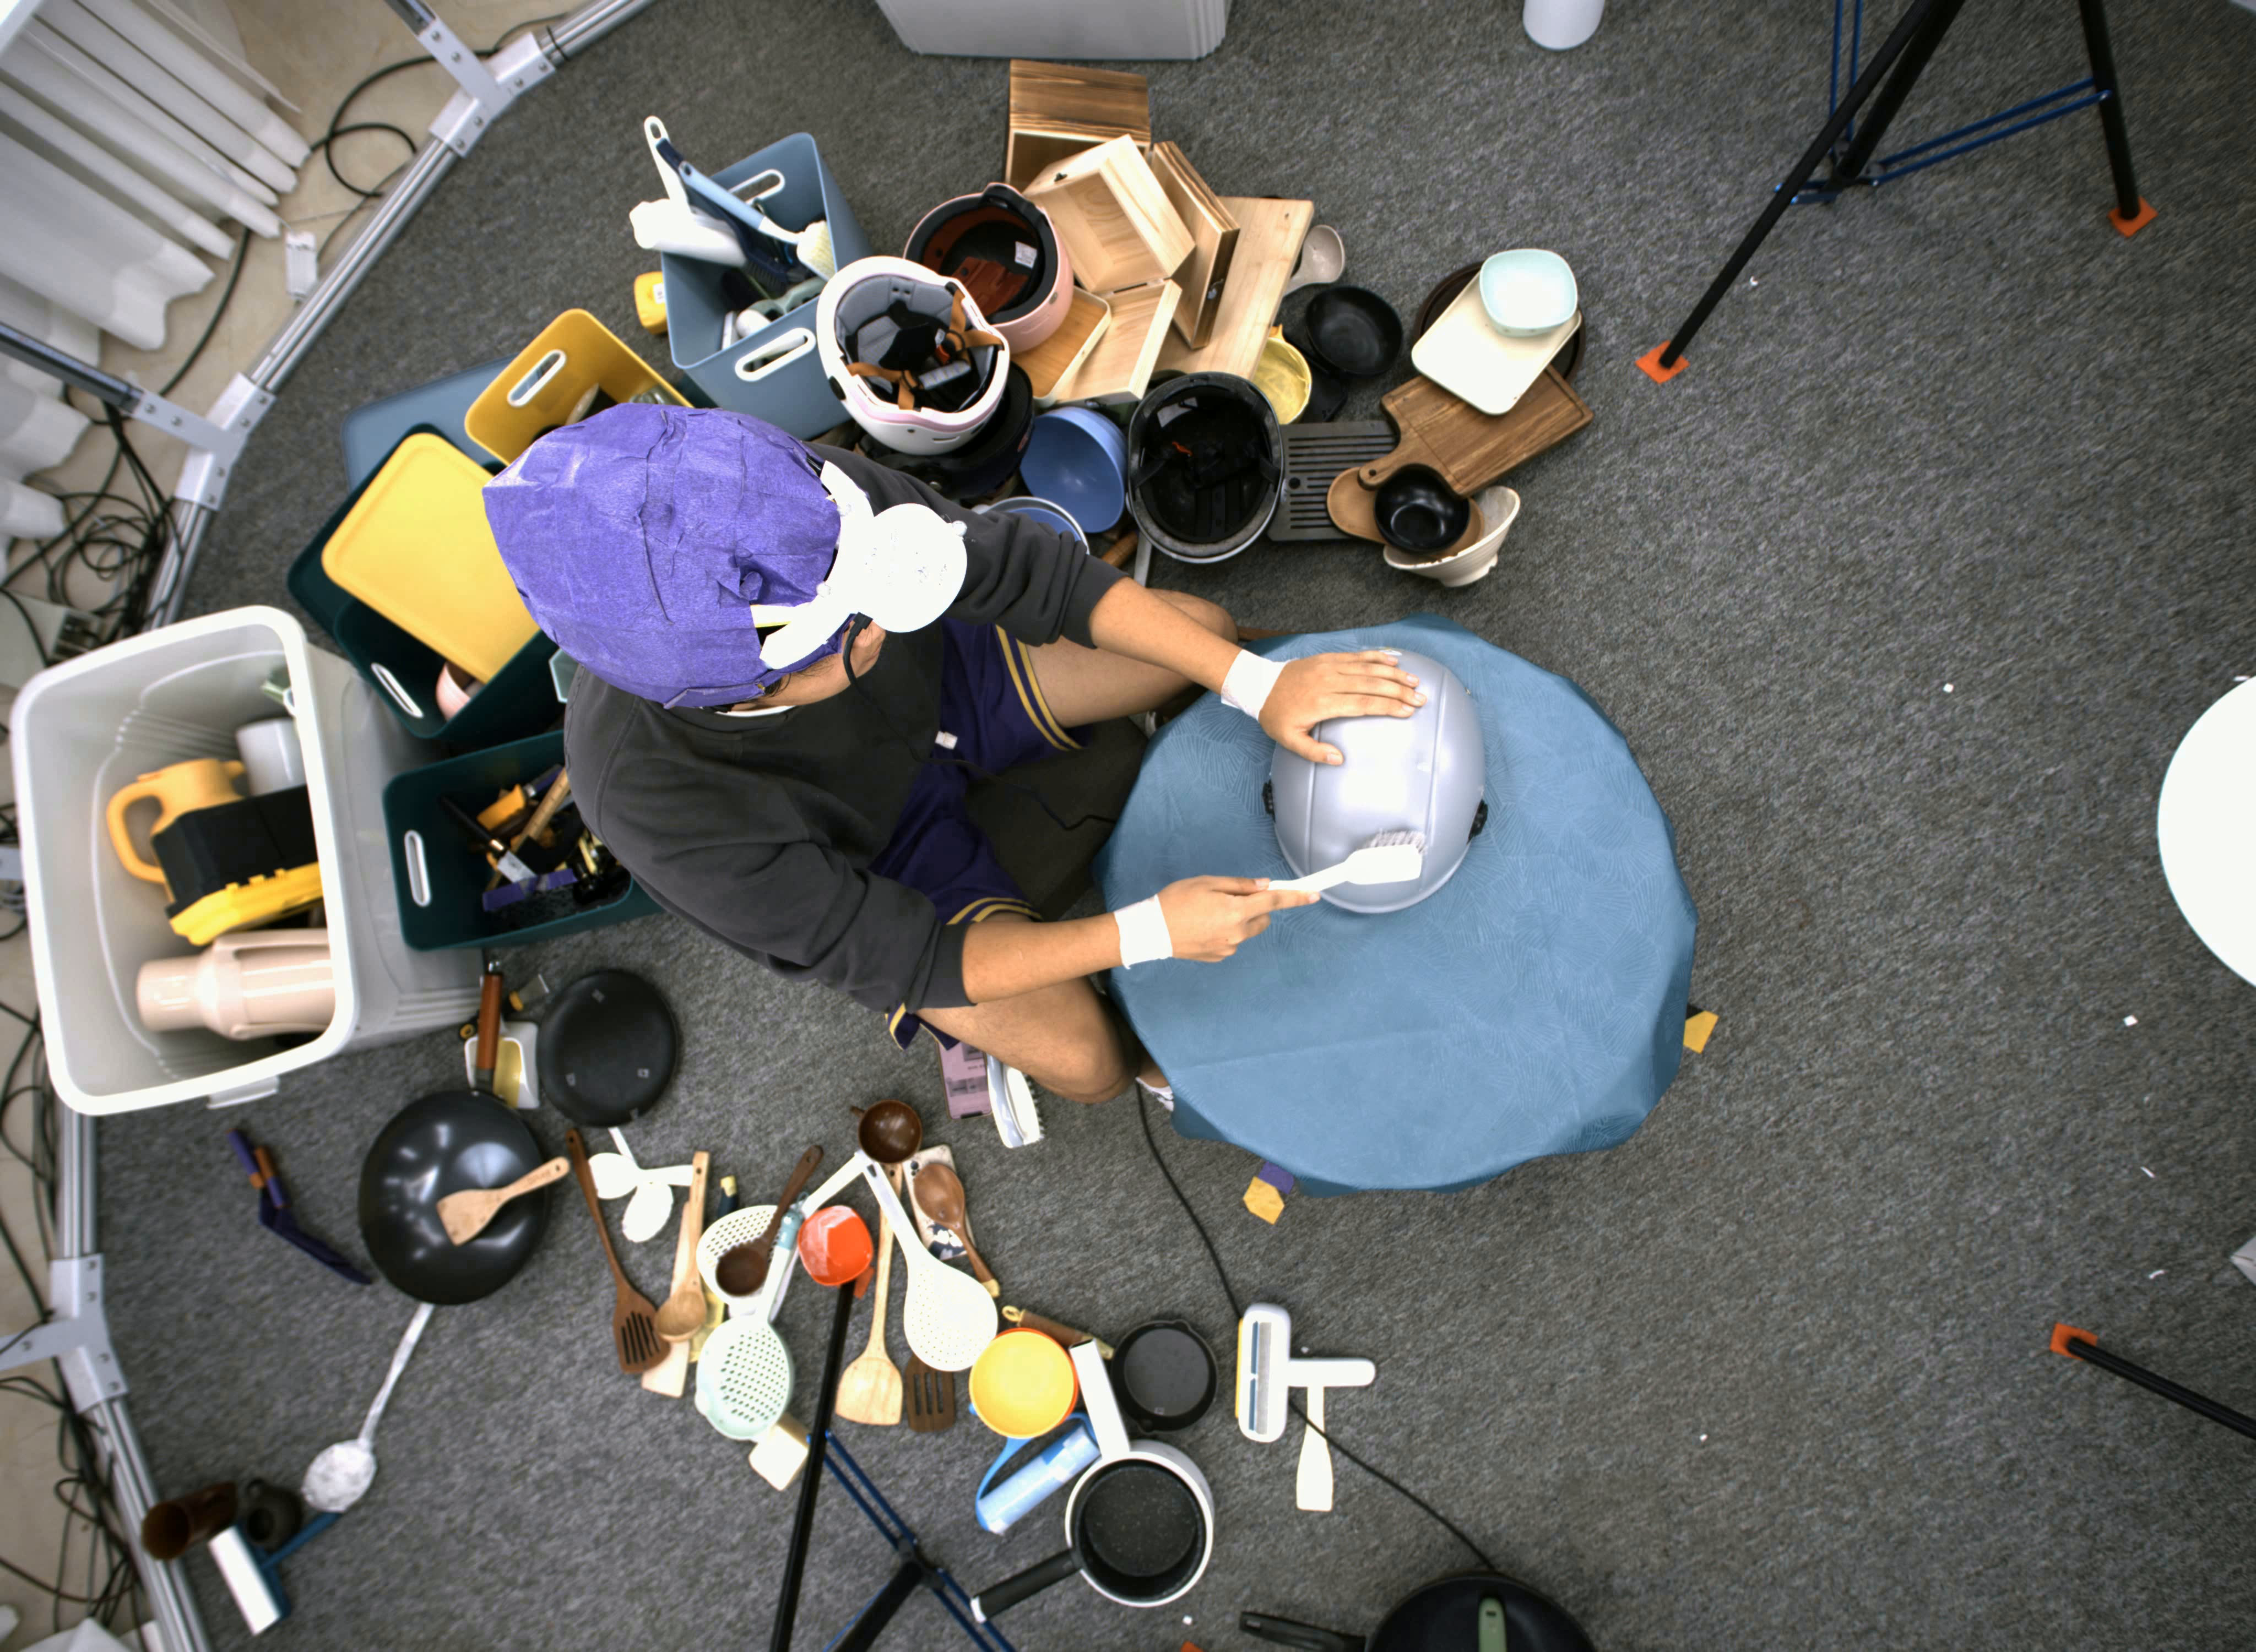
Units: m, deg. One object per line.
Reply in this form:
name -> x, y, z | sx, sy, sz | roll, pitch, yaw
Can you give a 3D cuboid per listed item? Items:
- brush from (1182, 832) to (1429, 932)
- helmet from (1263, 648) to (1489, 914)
brush -> 0.169, 0.052, 1.332 | 0.245, 0.049, 0.035 | -16, 117, 14
helmet -> 0.250, -0.052, 1.389 | 0.233, 0.168, 0.275 | 6, 89, 12
